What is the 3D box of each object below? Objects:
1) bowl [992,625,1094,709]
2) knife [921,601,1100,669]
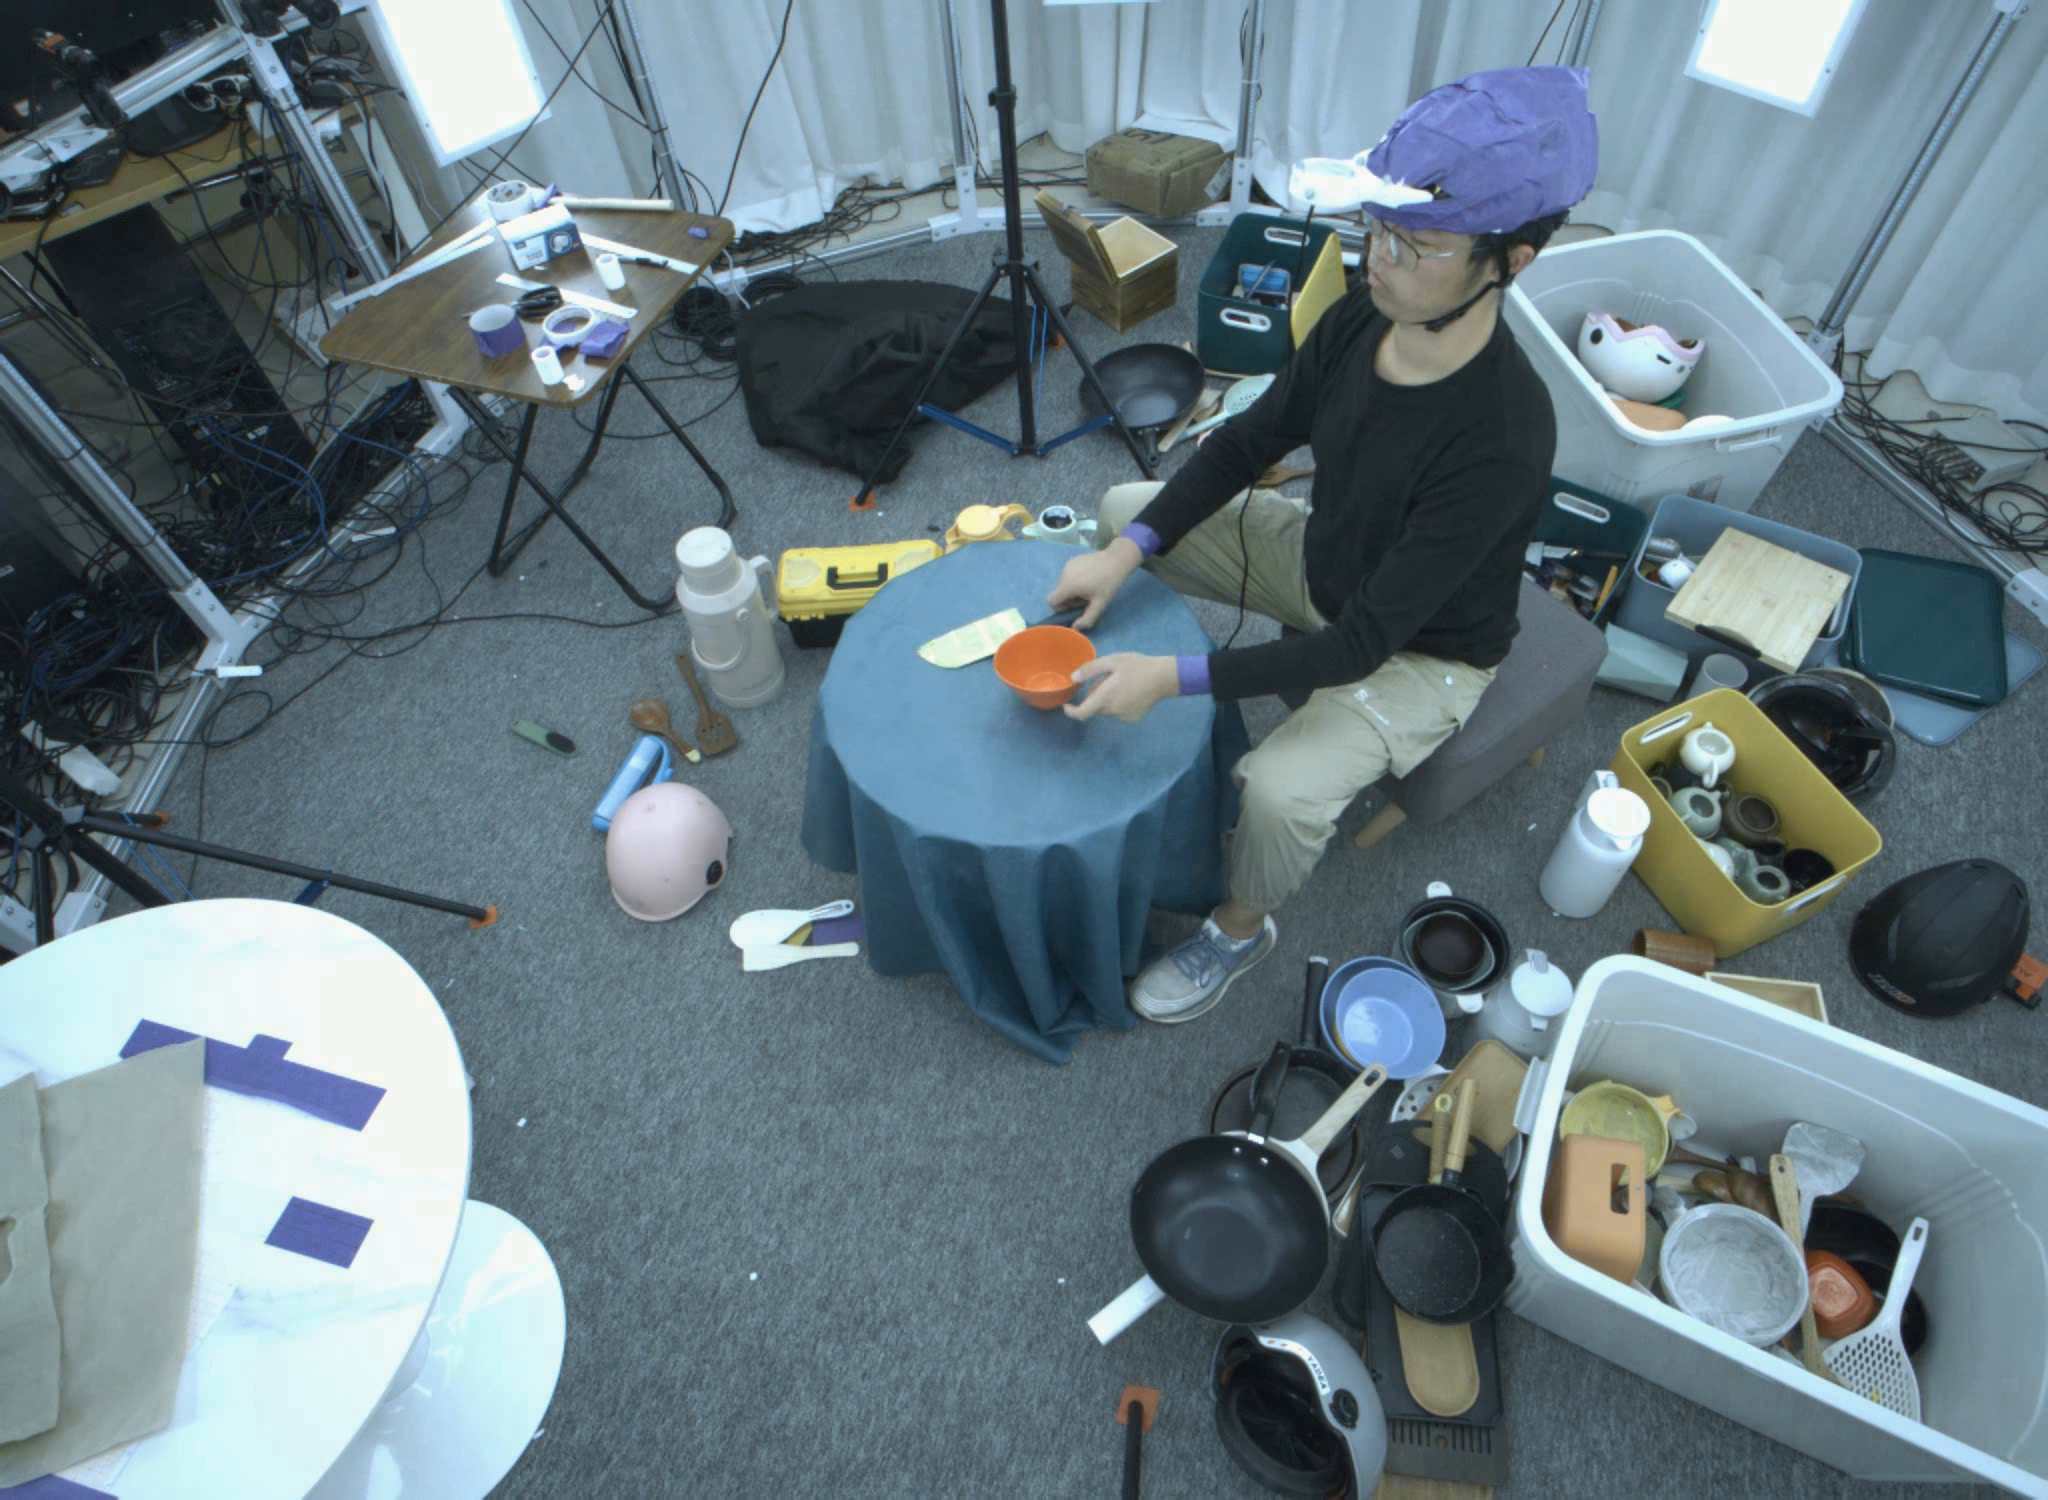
[{"bbox_3d":[0.030,-0.108,1.797,0.148,0.106,0.146,-1,54,3],"label":"bowl"},{"bbox_3d":[-0.023,-0.188,1.909,0.291,0.027,0.079,-18,59,-9],"label":"knife"}]
